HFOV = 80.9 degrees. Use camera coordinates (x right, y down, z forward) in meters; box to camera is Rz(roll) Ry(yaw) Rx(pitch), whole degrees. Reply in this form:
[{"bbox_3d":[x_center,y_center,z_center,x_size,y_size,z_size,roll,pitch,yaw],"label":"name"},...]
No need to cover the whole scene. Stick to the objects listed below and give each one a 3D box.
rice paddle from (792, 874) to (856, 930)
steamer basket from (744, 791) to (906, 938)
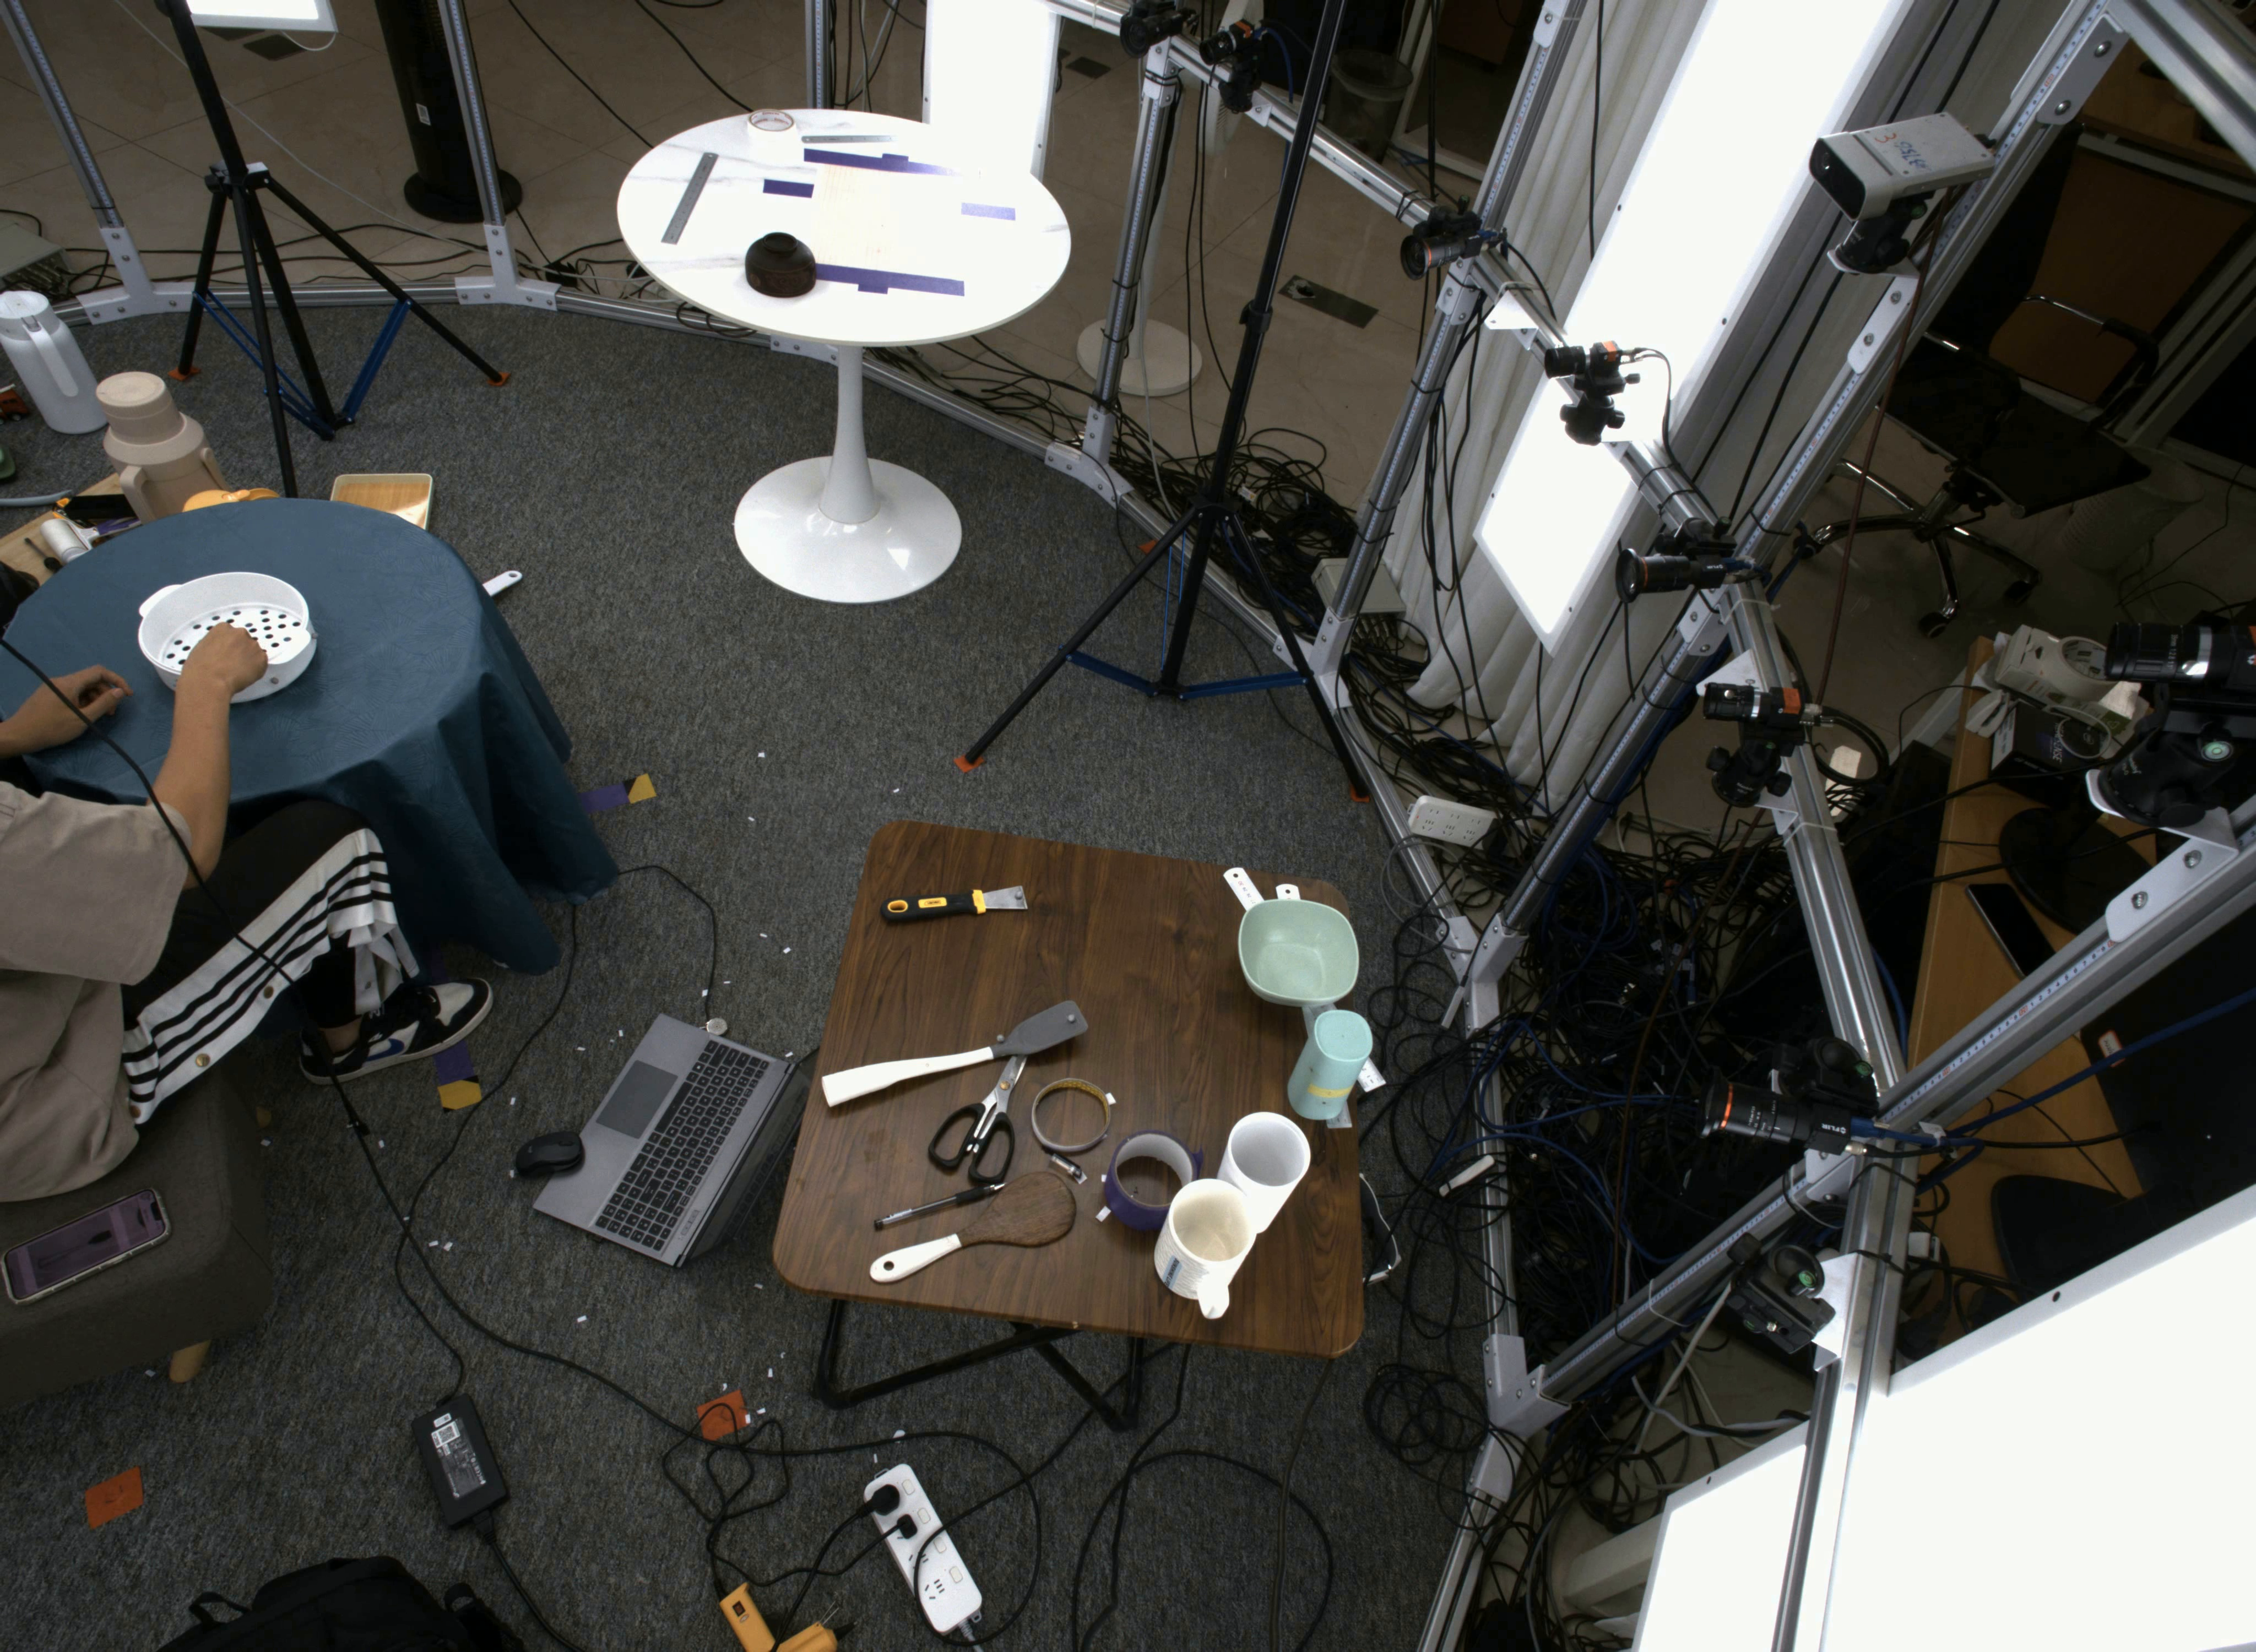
[{"bbox_3d":[-0.365,0.080,1.576,0.069,0.030,0.199,-2,14,-22],"label":"rice paddle"},{"bbox_3d":[-0.387,0.049,1.666,0.225,0.071,0.201,31,53,14],"label":"steamer basket"}]
